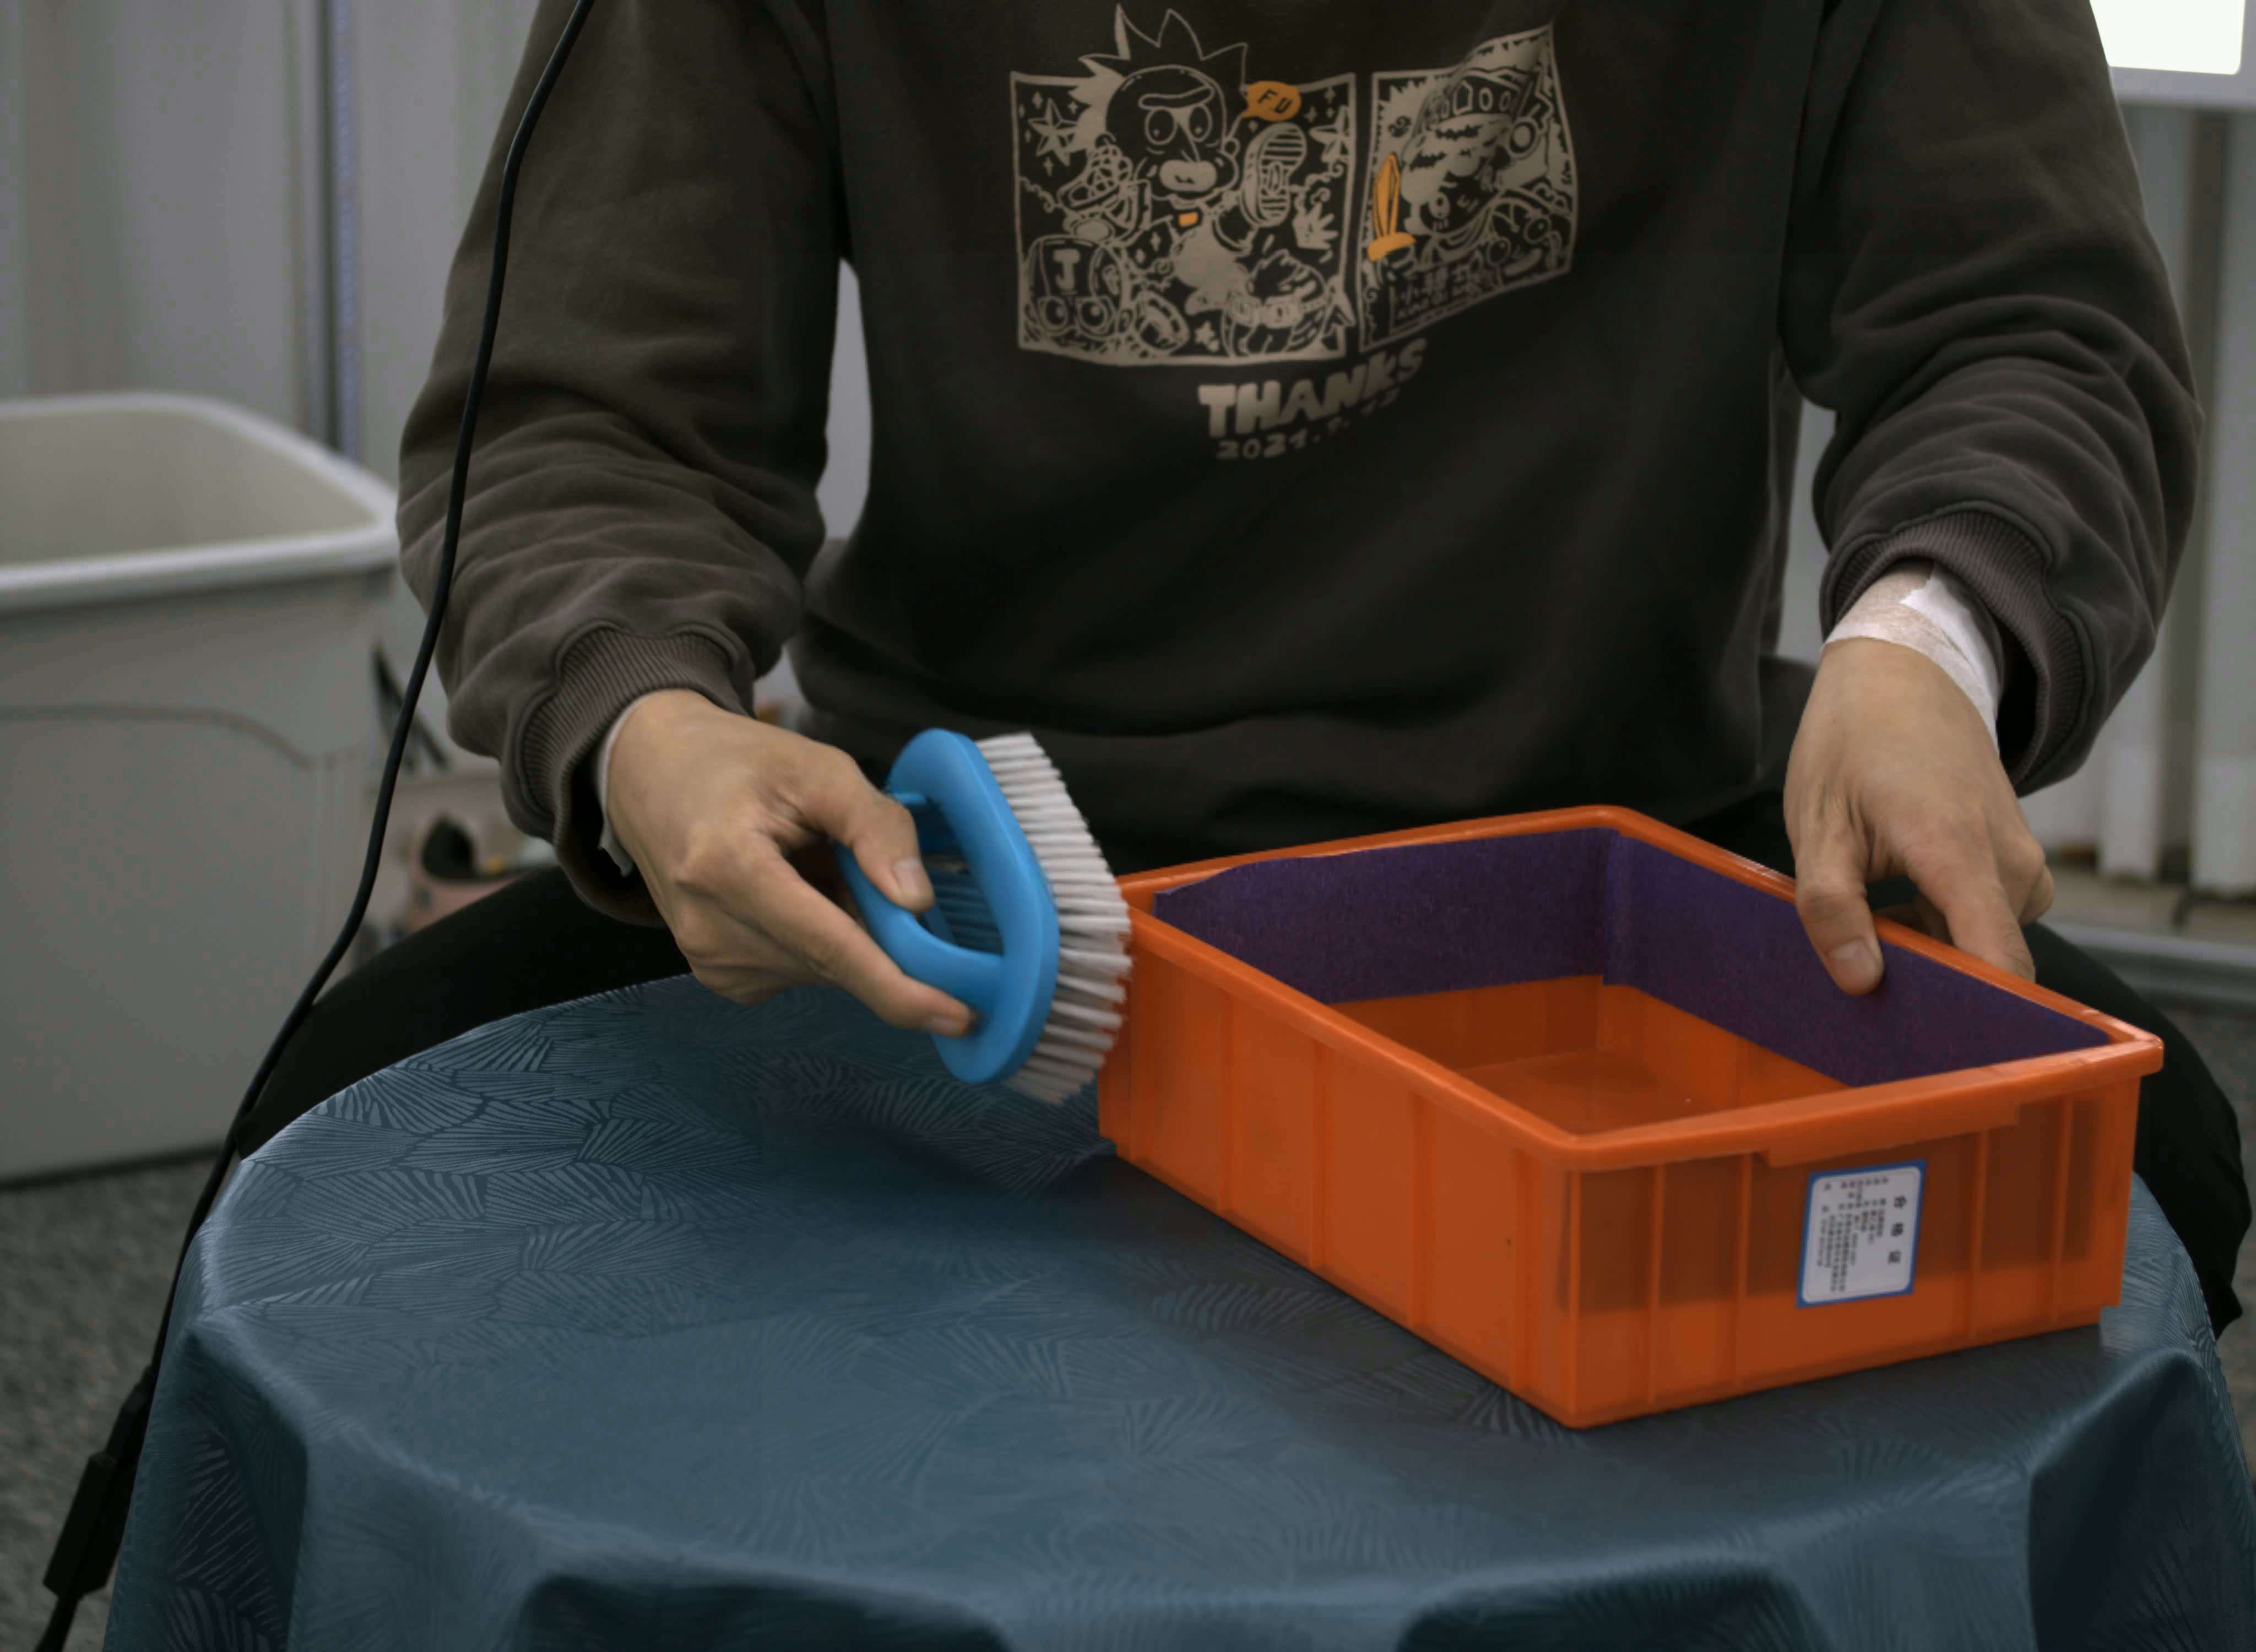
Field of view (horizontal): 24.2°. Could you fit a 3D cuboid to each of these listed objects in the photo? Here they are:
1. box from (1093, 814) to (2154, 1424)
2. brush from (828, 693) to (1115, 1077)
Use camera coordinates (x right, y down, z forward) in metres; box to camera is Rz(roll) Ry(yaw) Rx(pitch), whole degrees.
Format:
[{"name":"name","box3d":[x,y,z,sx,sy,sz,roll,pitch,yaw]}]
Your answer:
[{"name":"box","box3d":[0.137,0.082,1.584,0.207,0.097,0.300,-8,18,-27]},{"name":"brush","box3d":[-0.057,0.019,1.641,0.064,0.085,0.140,5,37,-27]}]
